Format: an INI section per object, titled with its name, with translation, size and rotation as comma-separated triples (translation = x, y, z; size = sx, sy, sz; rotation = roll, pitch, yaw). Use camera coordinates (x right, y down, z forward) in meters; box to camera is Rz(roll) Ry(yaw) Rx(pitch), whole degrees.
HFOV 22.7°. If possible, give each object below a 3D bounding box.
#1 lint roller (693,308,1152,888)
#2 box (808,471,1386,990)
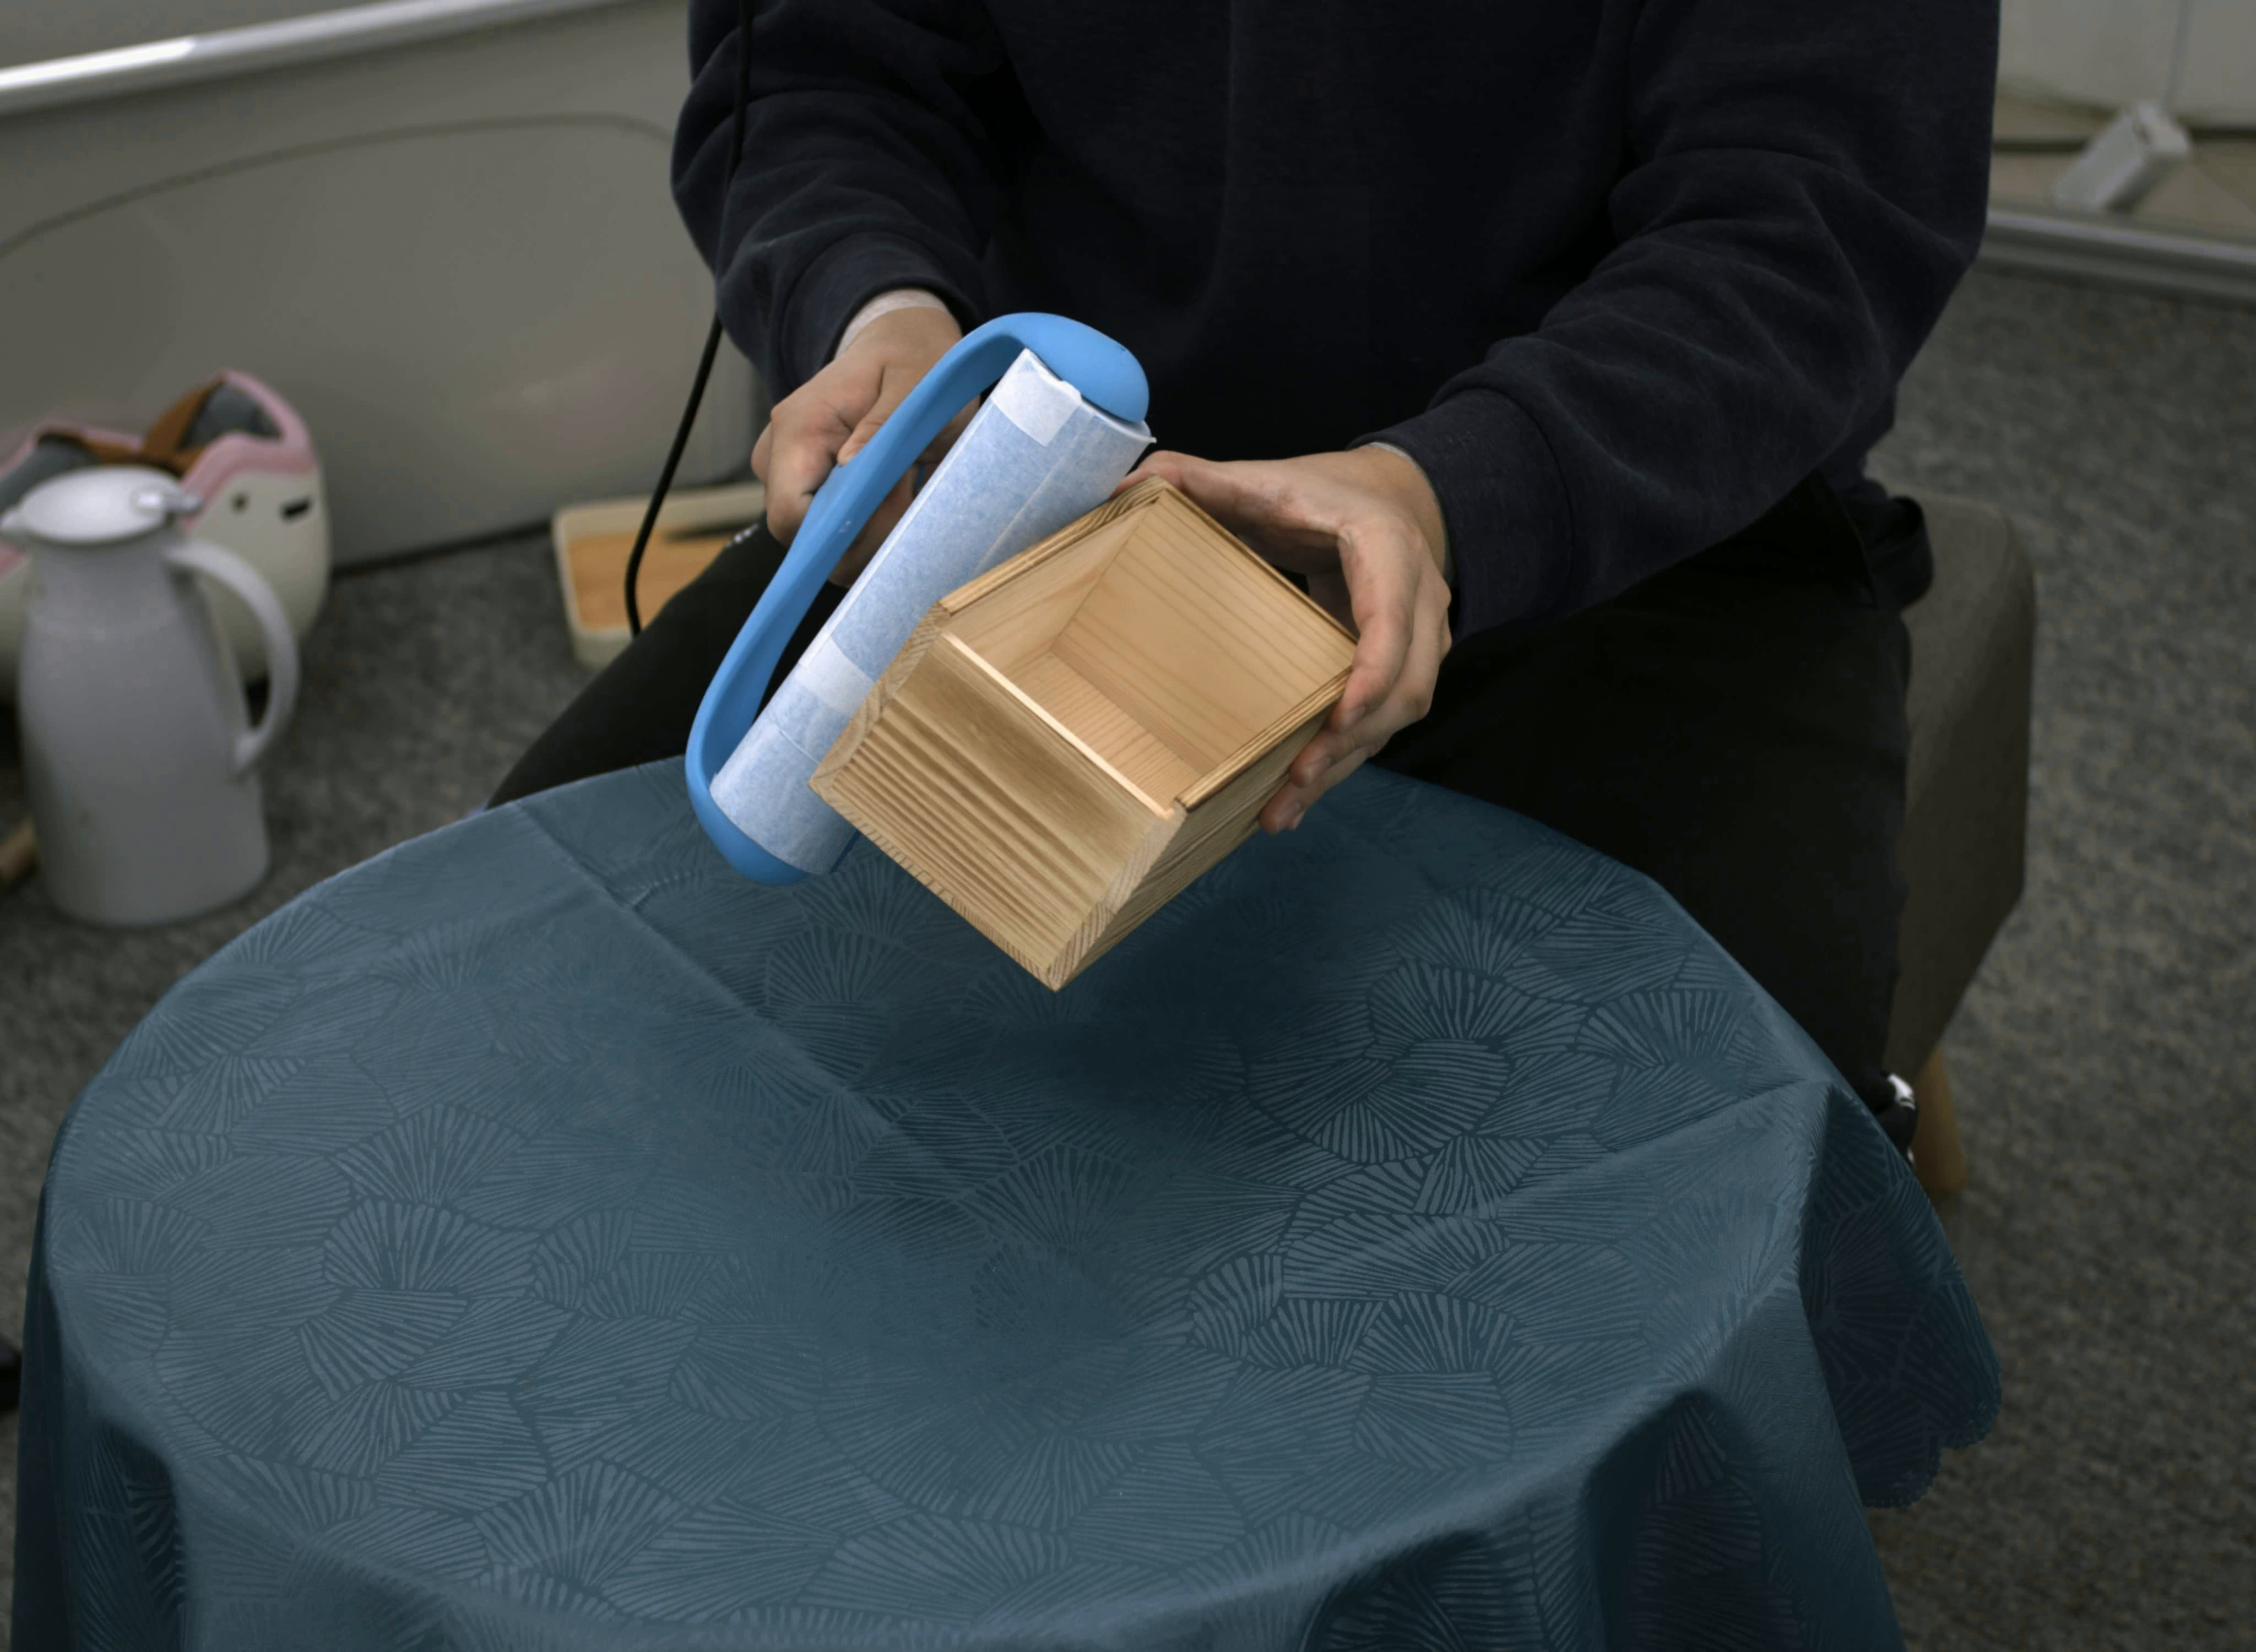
[lint roller]
translation = -0.083, -0.100, 1.984
size = 0.067, 0.227, 0.182
rotation = 28, 14, -26
[box]
translation = -0.007, -0.036, 1.873
size = 0.107, 0.079, 0.214
rotation = 39, 24, 6
